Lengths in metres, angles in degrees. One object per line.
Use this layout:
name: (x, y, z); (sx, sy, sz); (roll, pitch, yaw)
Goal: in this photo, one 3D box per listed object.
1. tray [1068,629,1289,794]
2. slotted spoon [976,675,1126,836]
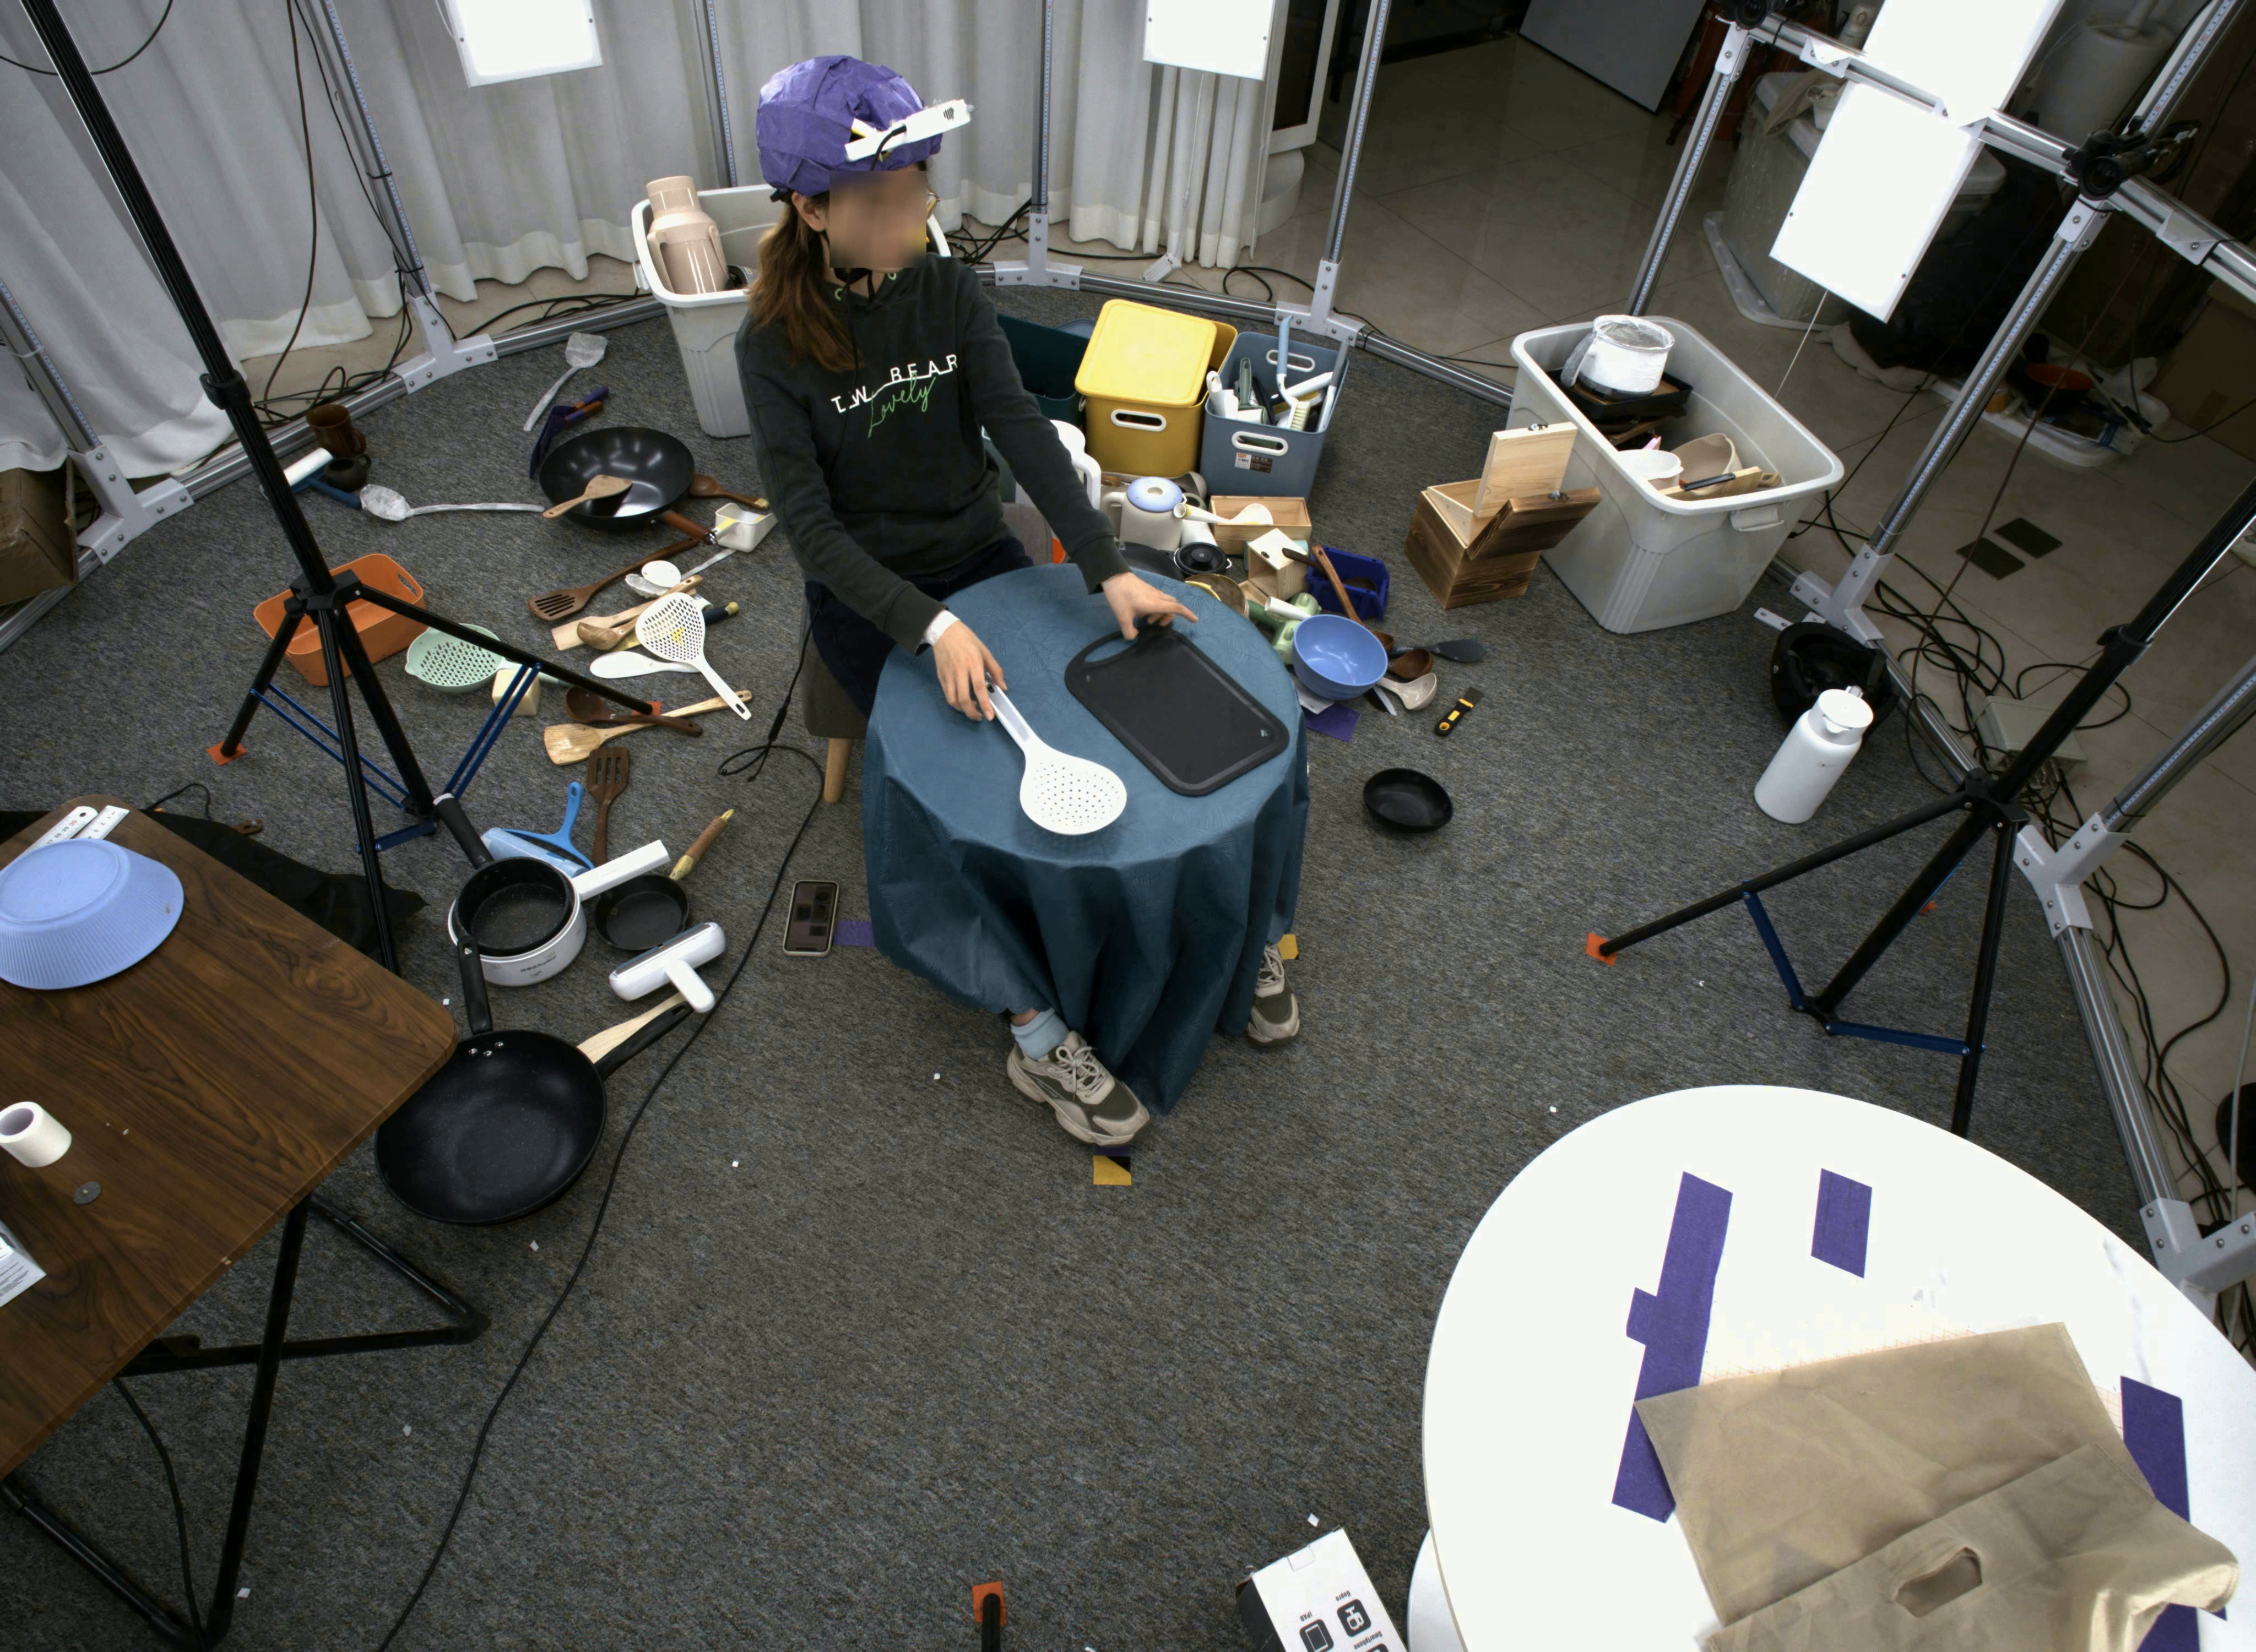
tray: (0.064, -0.176, 1.837); (0.212, 0.009, 0.331); (-28, 56, -26)
slotted spoon: (-0.124, -0.101, 1.734); (0.136, 0.044, 0.357); (-19, 52, -22)
